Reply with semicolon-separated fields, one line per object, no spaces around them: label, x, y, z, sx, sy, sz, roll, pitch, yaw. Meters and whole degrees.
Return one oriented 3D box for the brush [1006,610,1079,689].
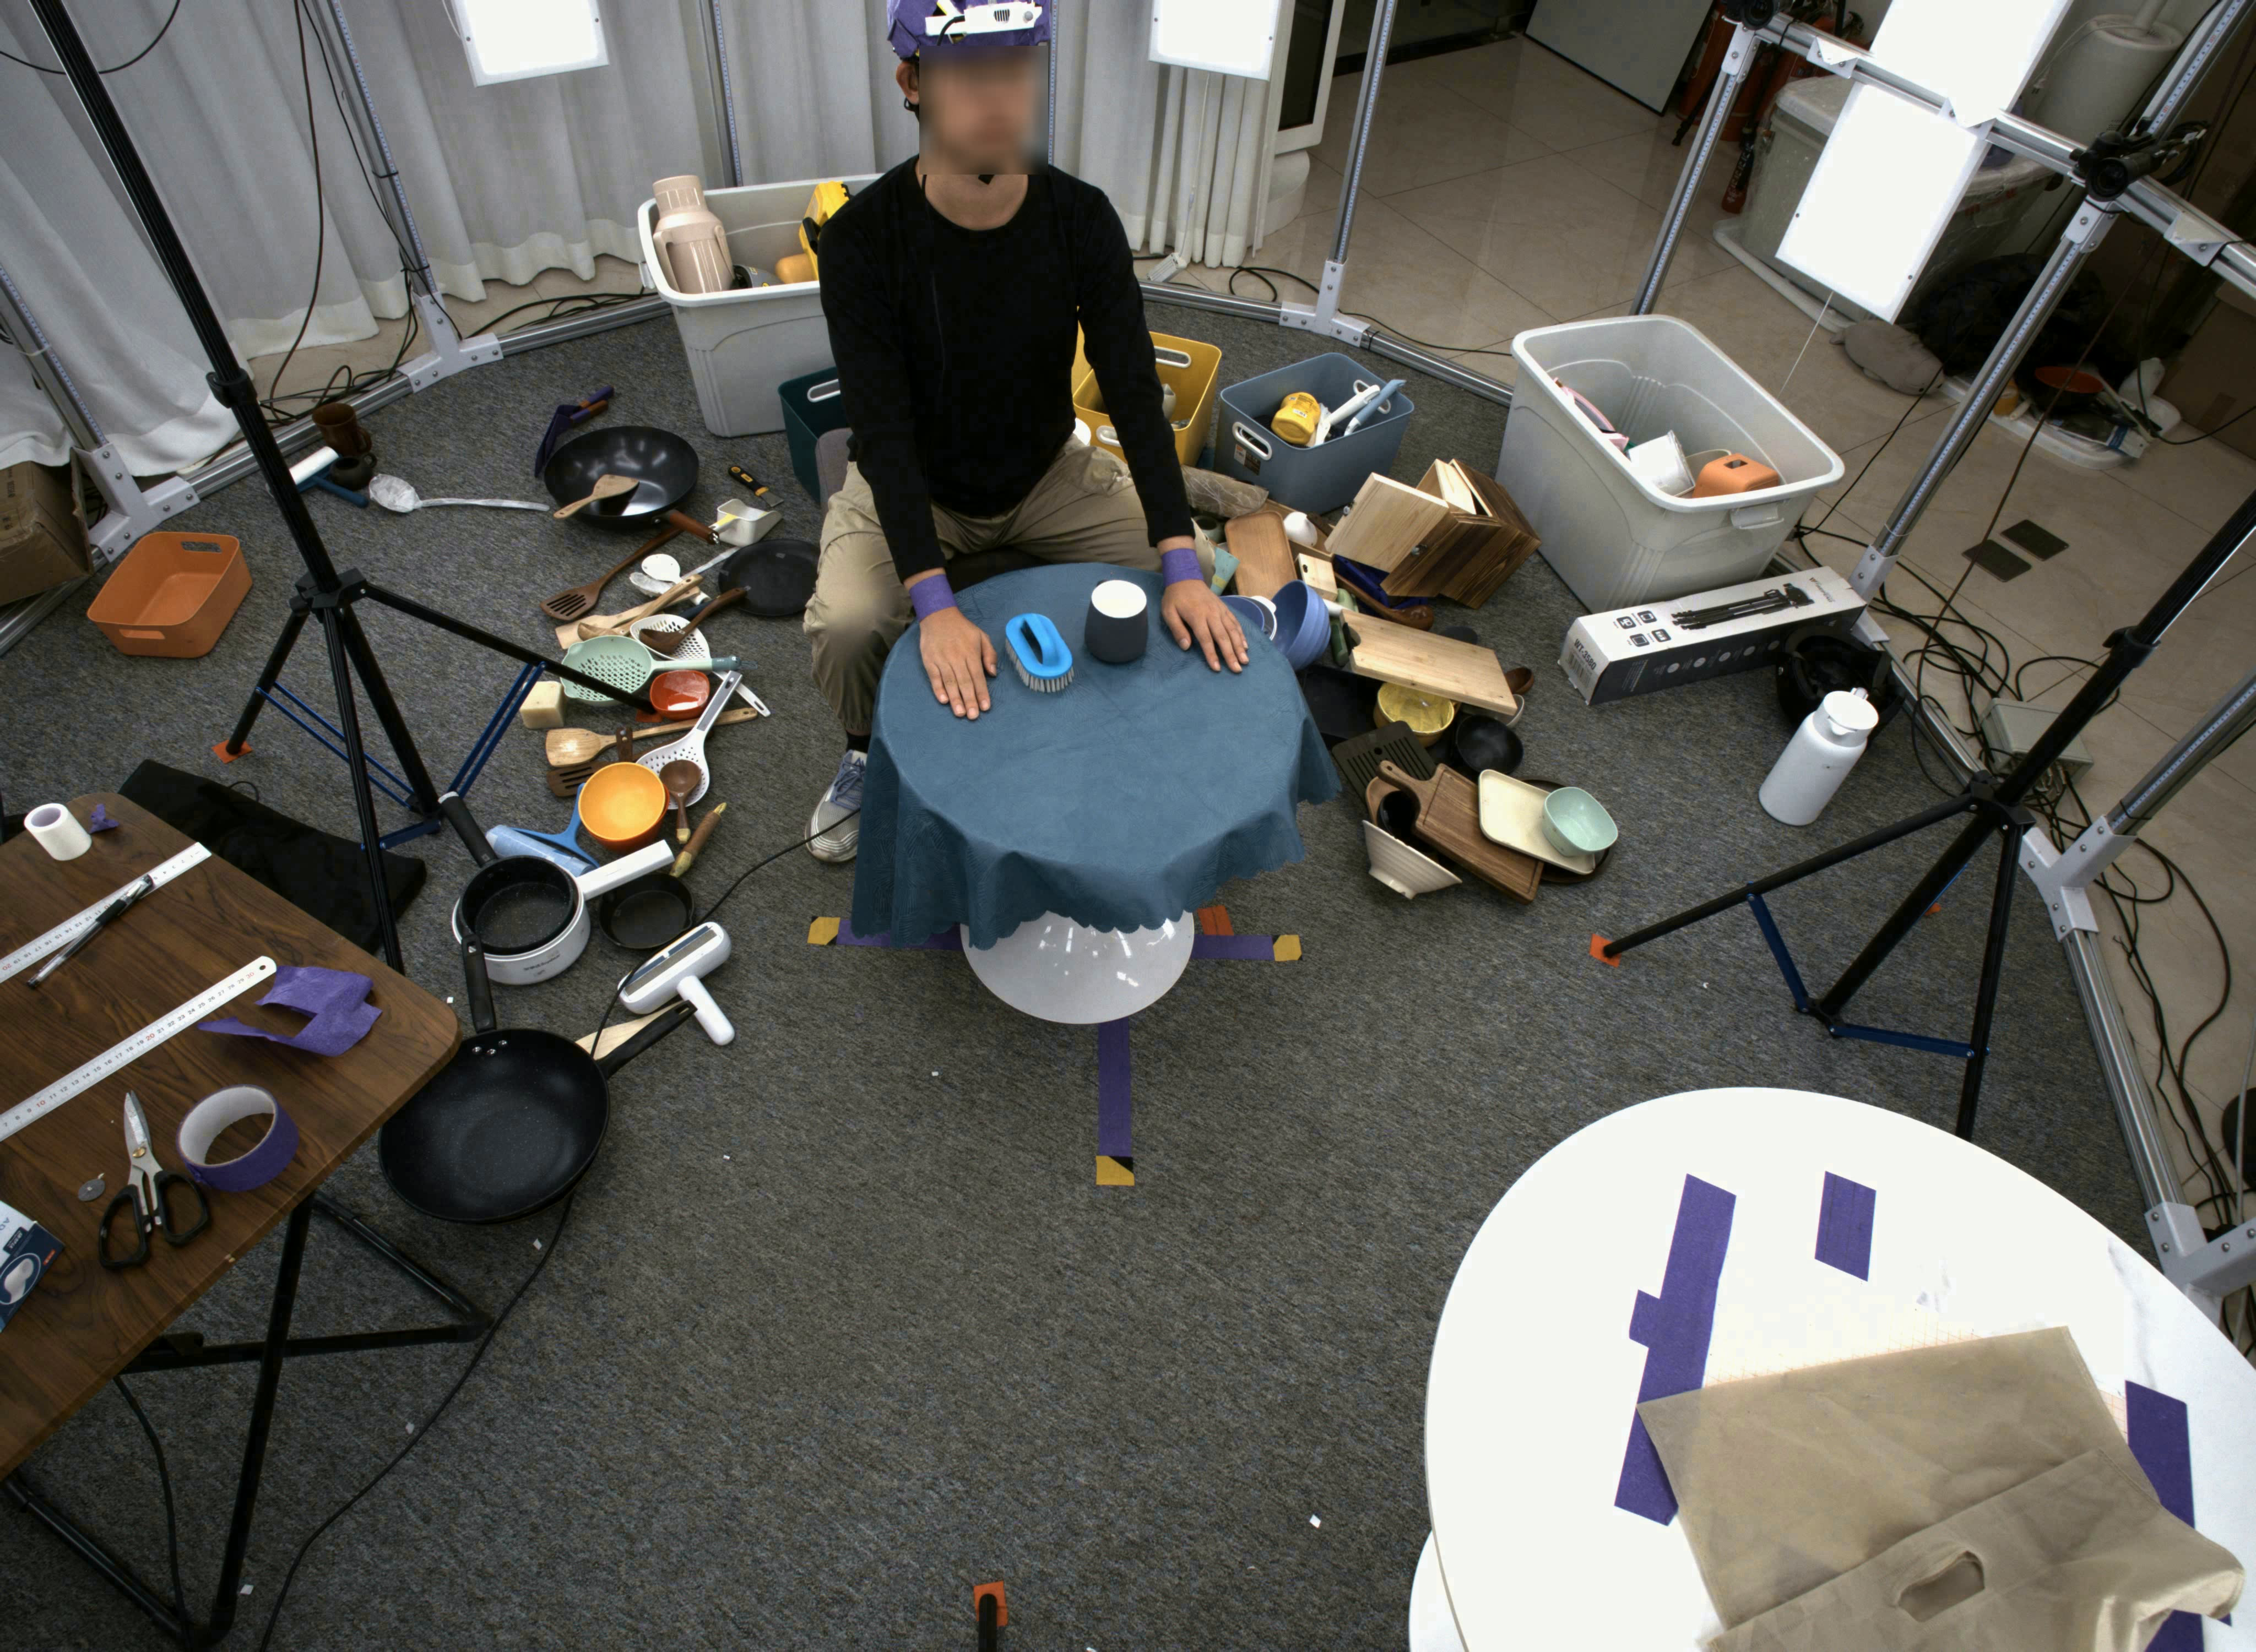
brush;-0.125;-0.264;1.844;0.084;0.062;0.145;-18;52;-13

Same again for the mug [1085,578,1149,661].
mug;-0.019;-0.308;1.872;0.093;0.088;0.126;-11;52;-14
